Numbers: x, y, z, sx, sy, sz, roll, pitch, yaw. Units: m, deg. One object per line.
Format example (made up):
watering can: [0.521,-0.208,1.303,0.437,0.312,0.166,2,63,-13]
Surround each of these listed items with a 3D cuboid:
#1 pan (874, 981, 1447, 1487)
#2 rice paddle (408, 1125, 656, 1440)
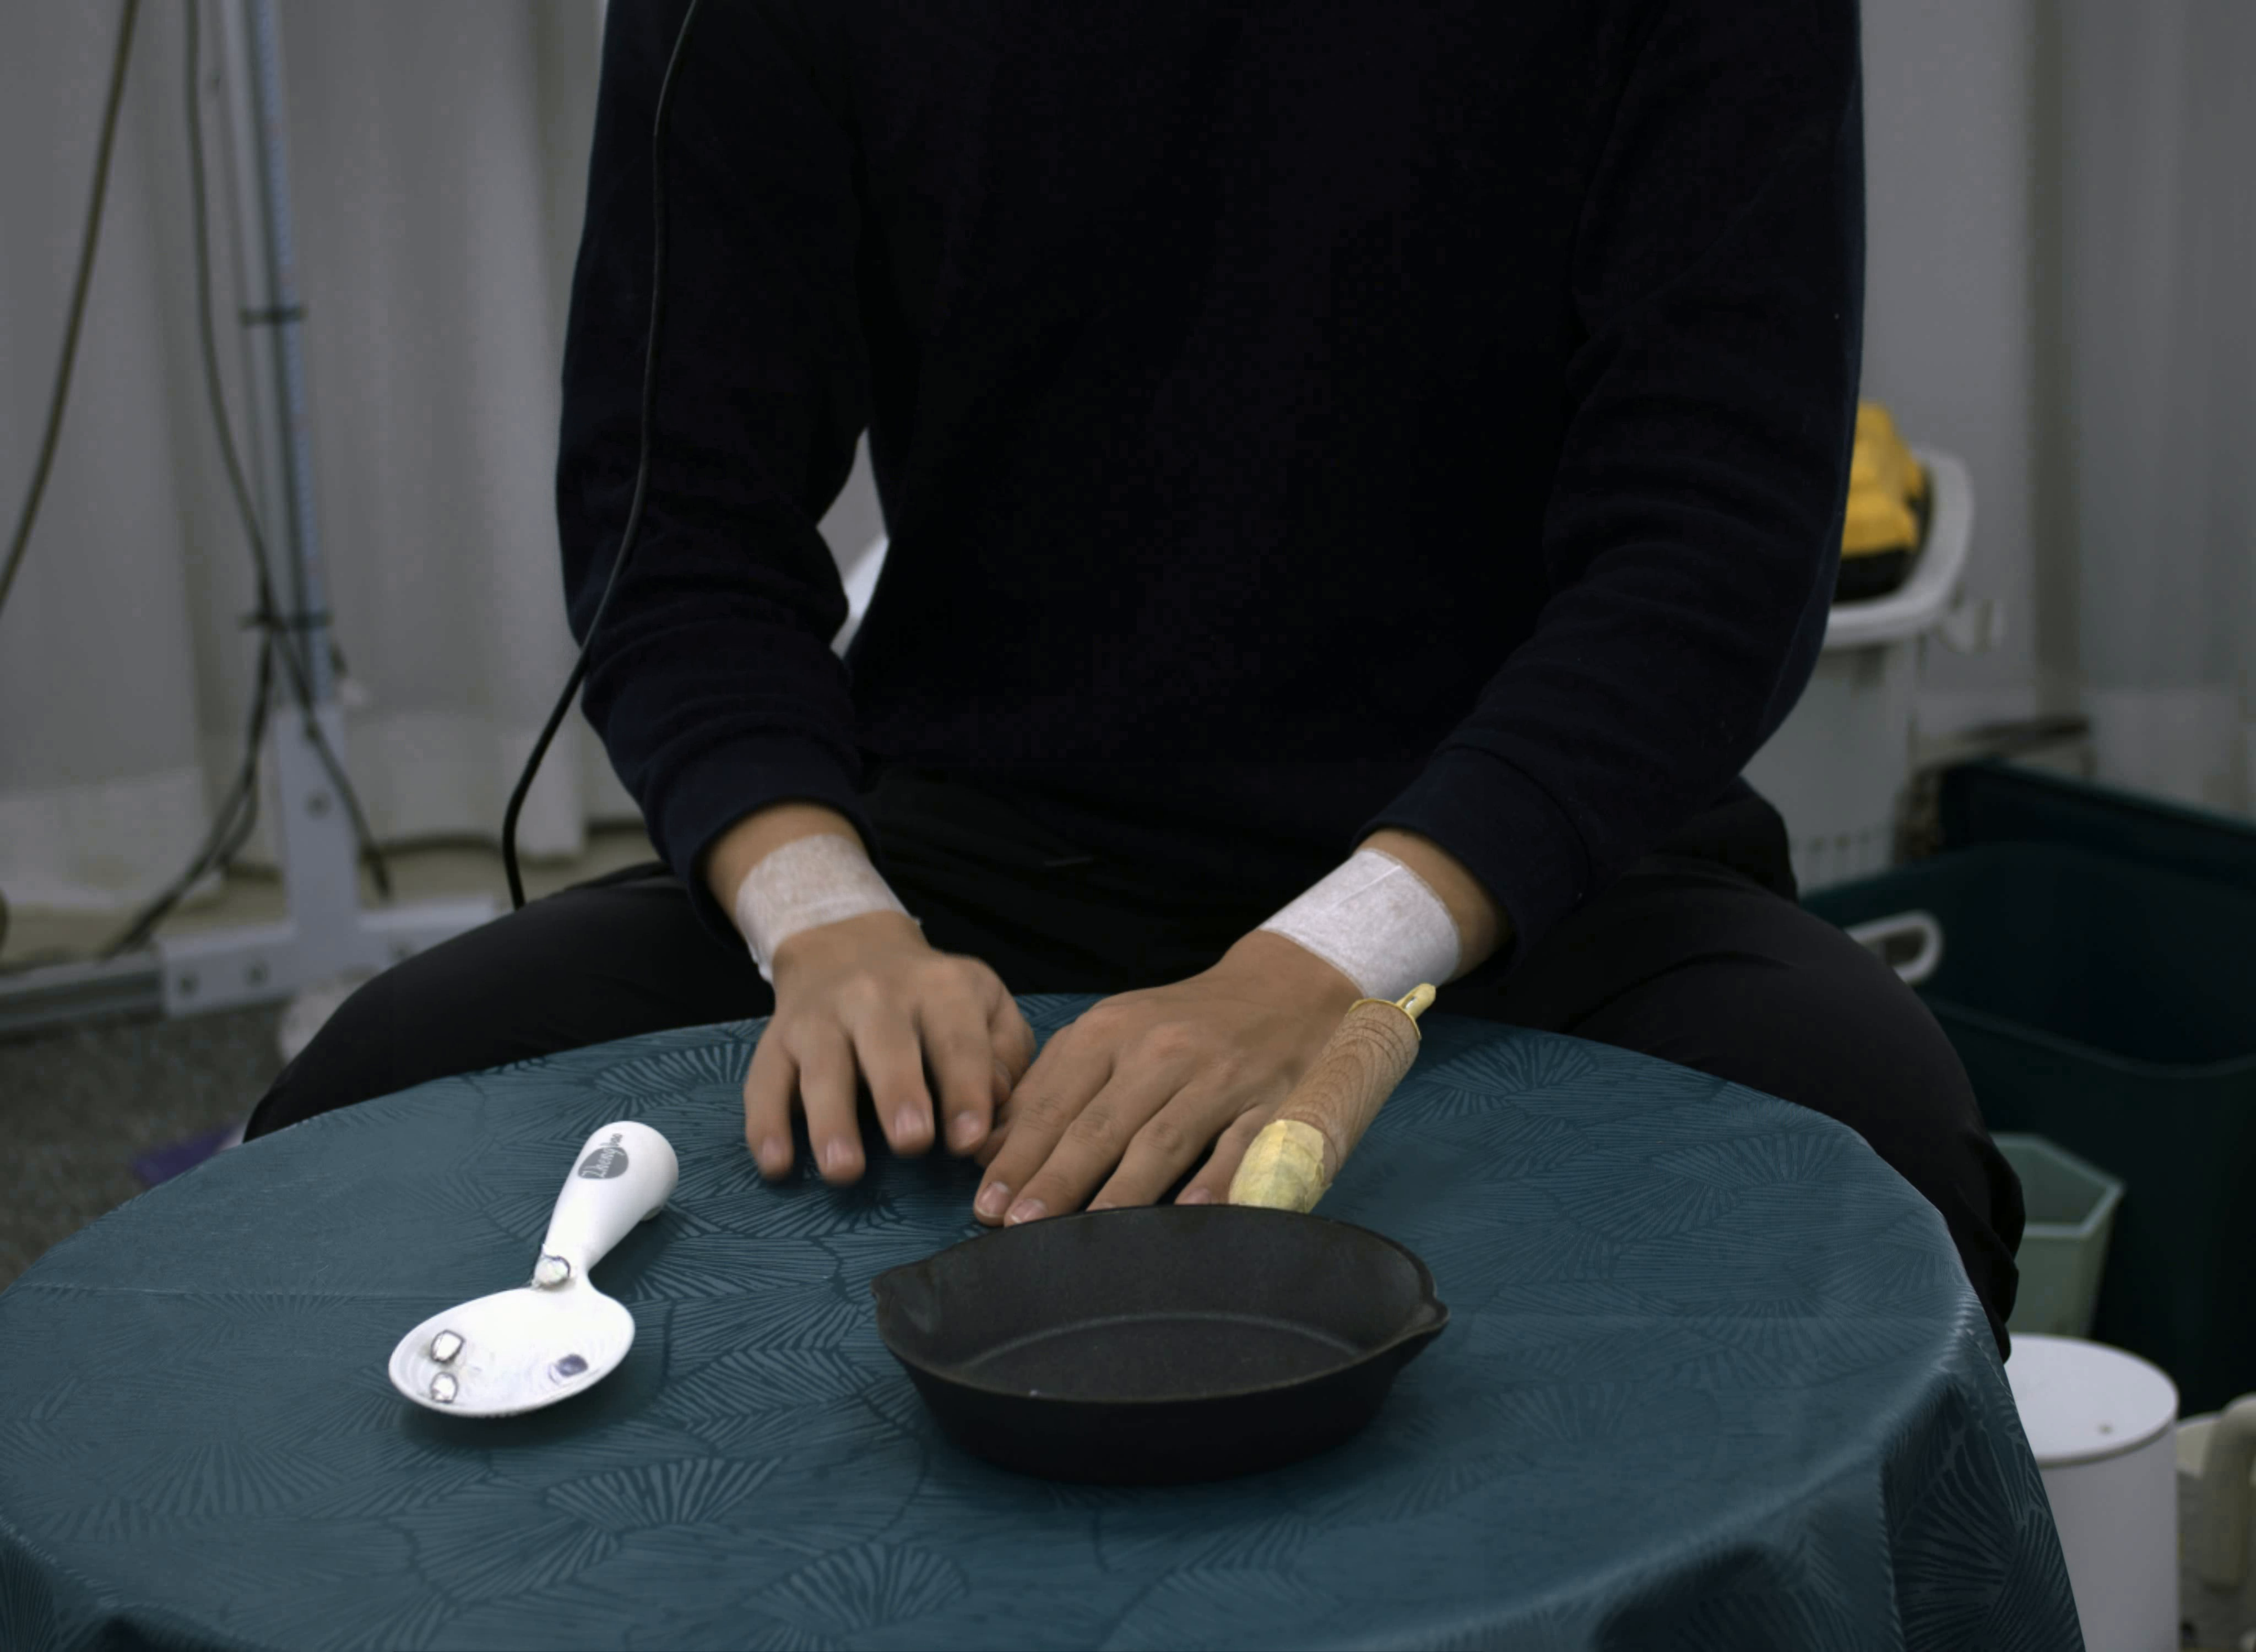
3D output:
pan: [0.038,0.116,1.605,0.169,0.049,0.325,3,18,21]
rice paddle: [-0.168,0.137,1.622,0.068,0.029,0.207,9,17,0]
